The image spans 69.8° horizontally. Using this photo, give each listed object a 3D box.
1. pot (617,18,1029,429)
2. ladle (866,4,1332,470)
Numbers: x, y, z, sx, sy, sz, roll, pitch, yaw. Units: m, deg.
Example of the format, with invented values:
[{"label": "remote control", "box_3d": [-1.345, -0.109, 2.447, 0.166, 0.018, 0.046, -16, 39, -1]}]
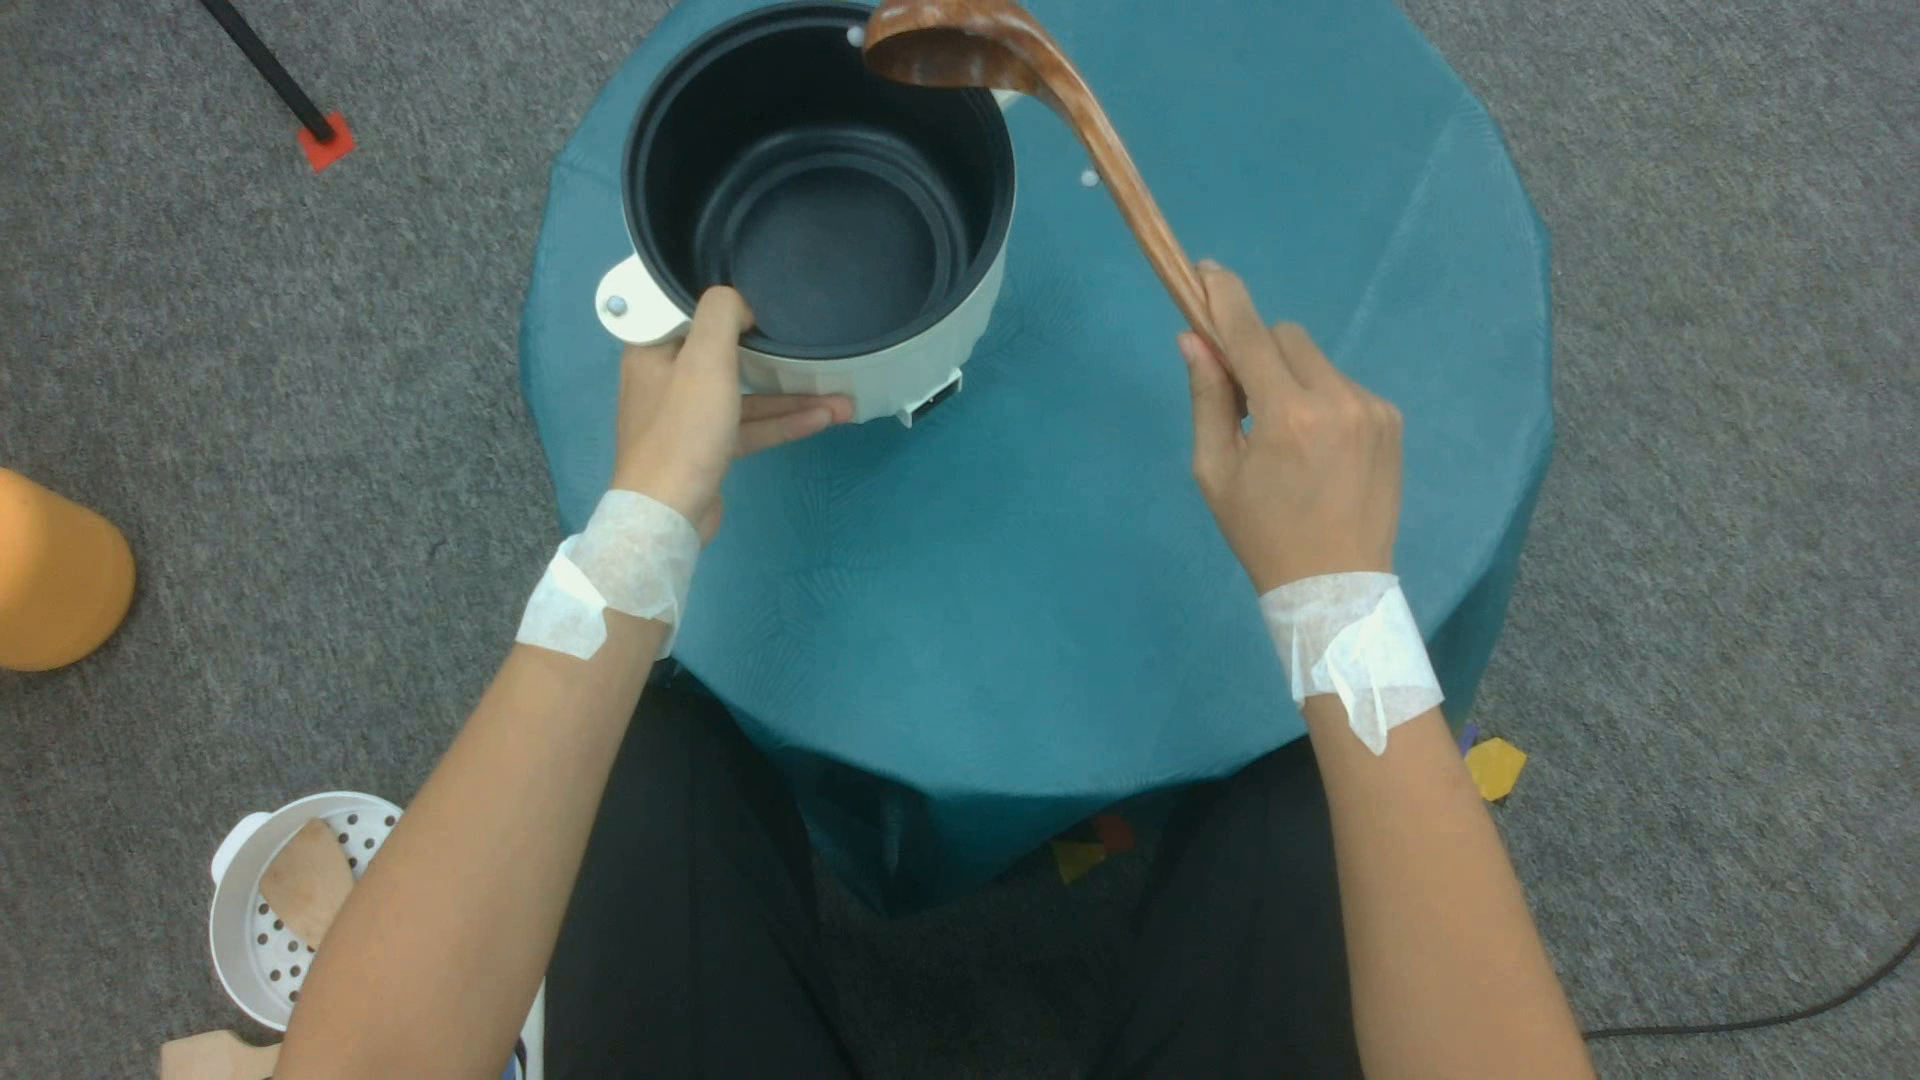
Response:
[{"label": "pot", "box_3d": [-0.067, -0.155, 0.714, 0.241, 0.142, 0.190, -38, 83, -11]}, {"label": "ladle", "box_3d": [0.059, -0.128, 0.619, 0.076, 0.082, 0.274, -35, 89, 11]}]
